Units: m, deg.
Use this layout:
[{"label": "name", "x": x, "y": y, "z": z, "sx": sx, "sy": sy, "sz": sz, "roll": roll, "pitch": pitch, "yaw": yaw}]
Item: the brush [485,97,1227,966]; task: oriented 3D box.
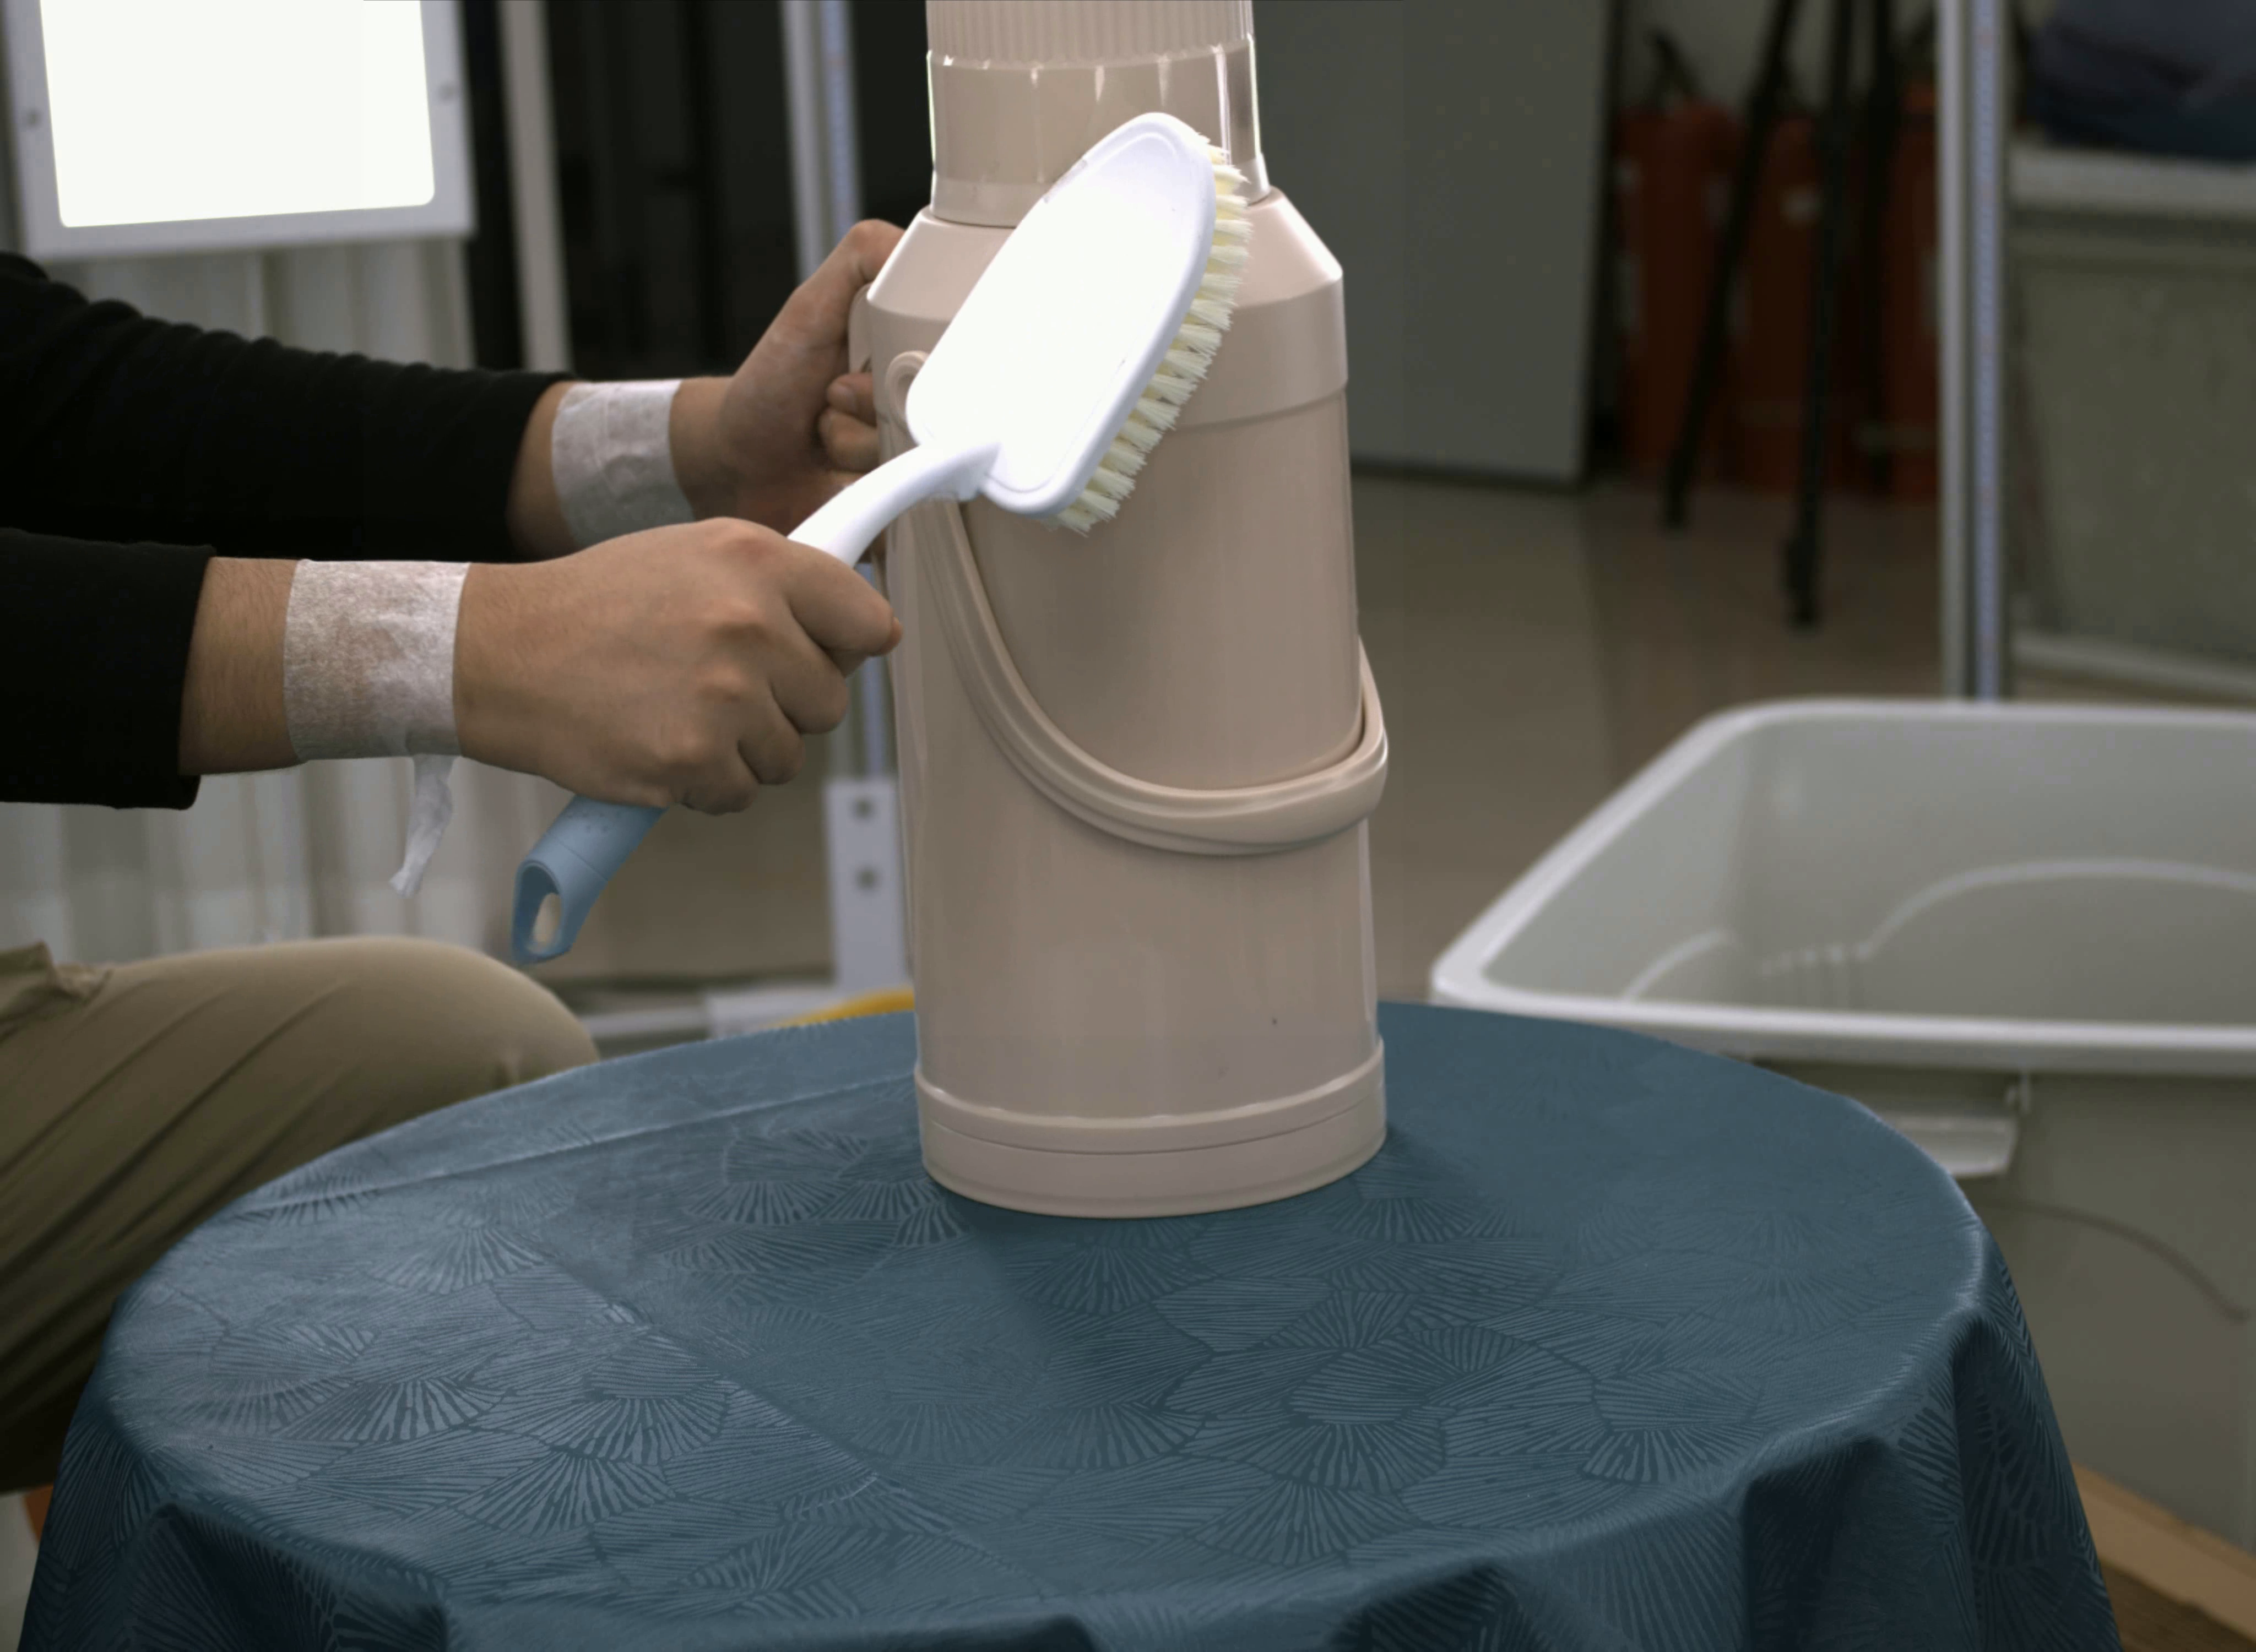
[{"label": "brush", "x": -0.079, "y": -0.081, "z": 1.638, "sx": 0.083, "sy": 0.326, "sz": 0.084, "roll": 40, "pitch": -5, "yaw": -24}]

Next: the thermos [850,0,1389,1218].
[{"label": "thermos", "x": -0.011, "y": -0.088, "z": 1.784, "sx": 0.172, "sy": 0.410, "sz": 0.209, "roll": -18, "pitch": 19, "yaw": -41}]
